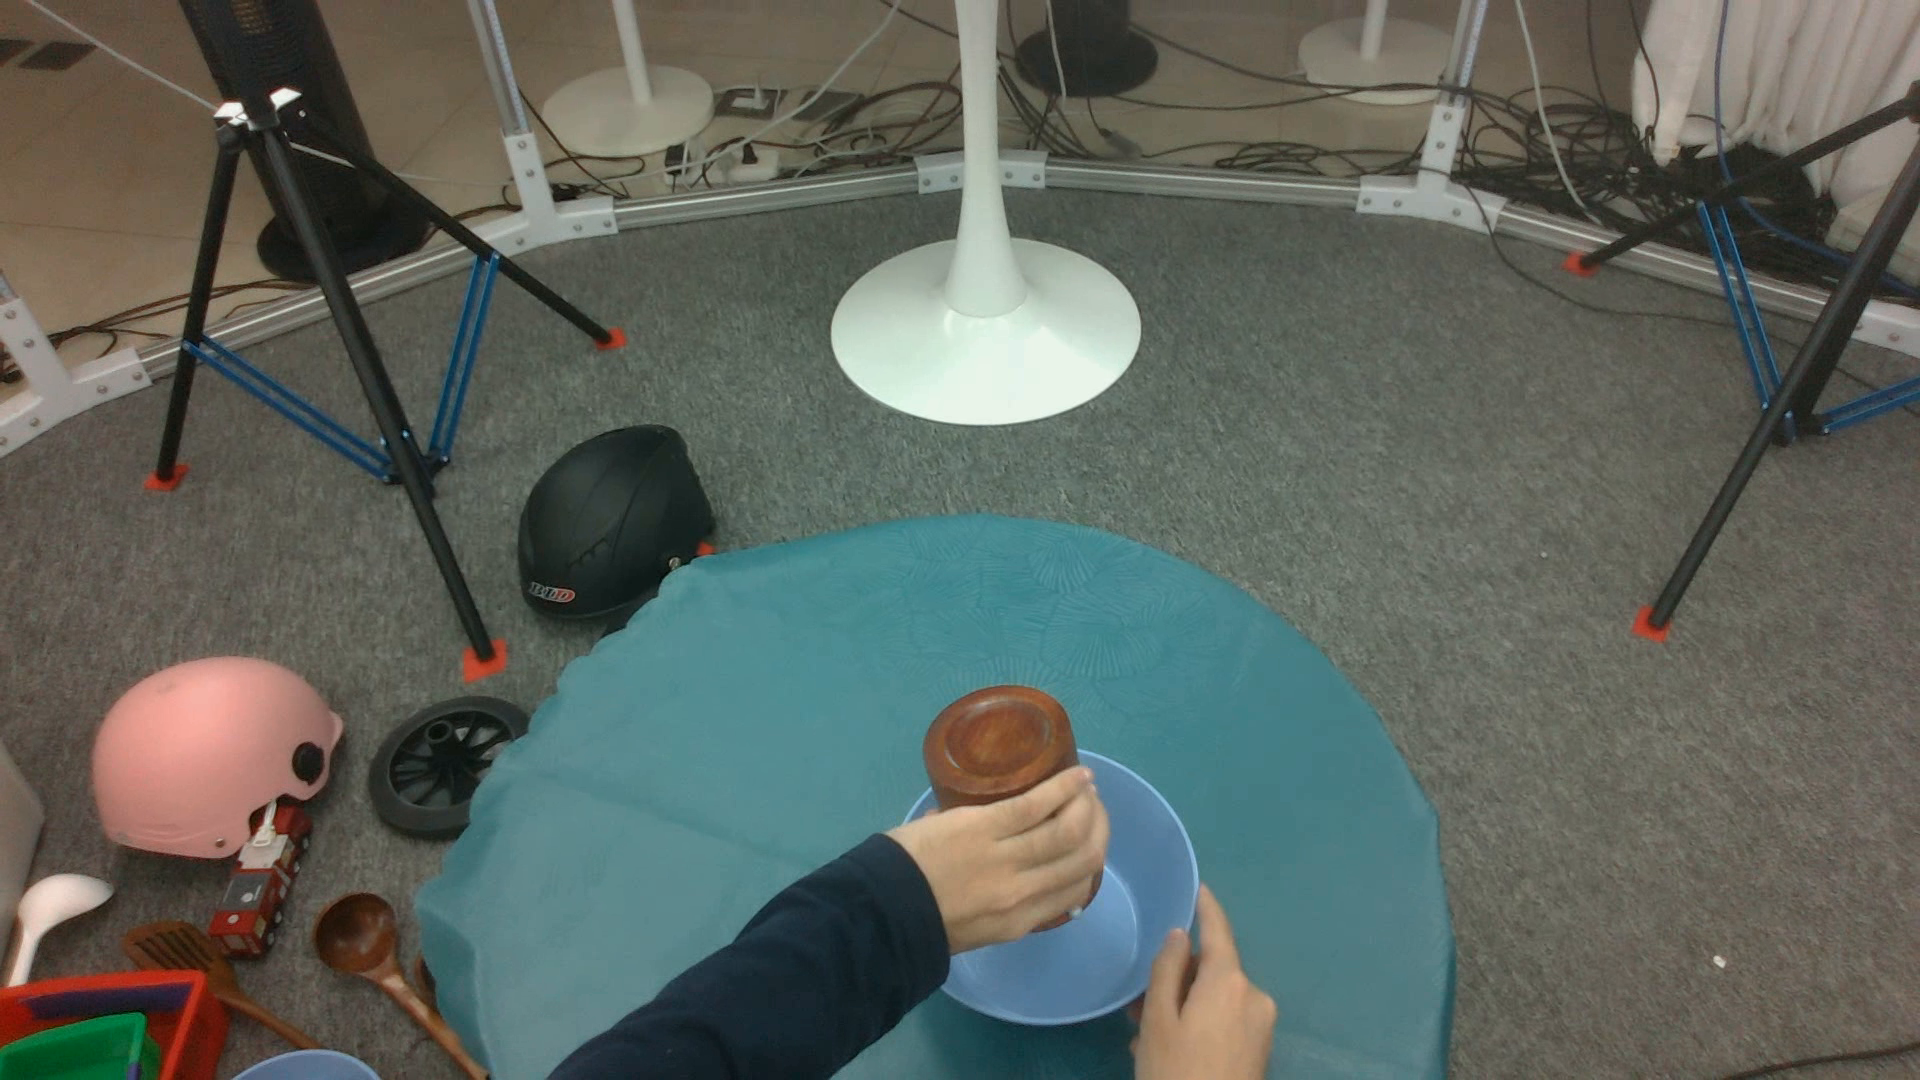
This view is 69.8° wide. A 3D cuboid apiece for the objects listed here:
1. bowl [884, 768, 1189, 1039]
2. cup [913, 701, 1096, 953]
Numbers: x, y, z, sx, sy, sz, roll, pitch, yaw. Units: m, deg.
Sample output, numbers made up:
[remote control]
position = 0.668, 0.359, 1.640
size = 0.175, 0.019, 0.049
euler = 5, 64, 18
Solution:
[bowl]
position = 0.045, 0.224, 0.815
size = 0.176, 0.070, 0.177
euler = -1, 45, 2
[cup]
position = 0.026, 0.158, 0.761
size = 0.087, 0.118, 0.088
euler = -11, 32, 7
